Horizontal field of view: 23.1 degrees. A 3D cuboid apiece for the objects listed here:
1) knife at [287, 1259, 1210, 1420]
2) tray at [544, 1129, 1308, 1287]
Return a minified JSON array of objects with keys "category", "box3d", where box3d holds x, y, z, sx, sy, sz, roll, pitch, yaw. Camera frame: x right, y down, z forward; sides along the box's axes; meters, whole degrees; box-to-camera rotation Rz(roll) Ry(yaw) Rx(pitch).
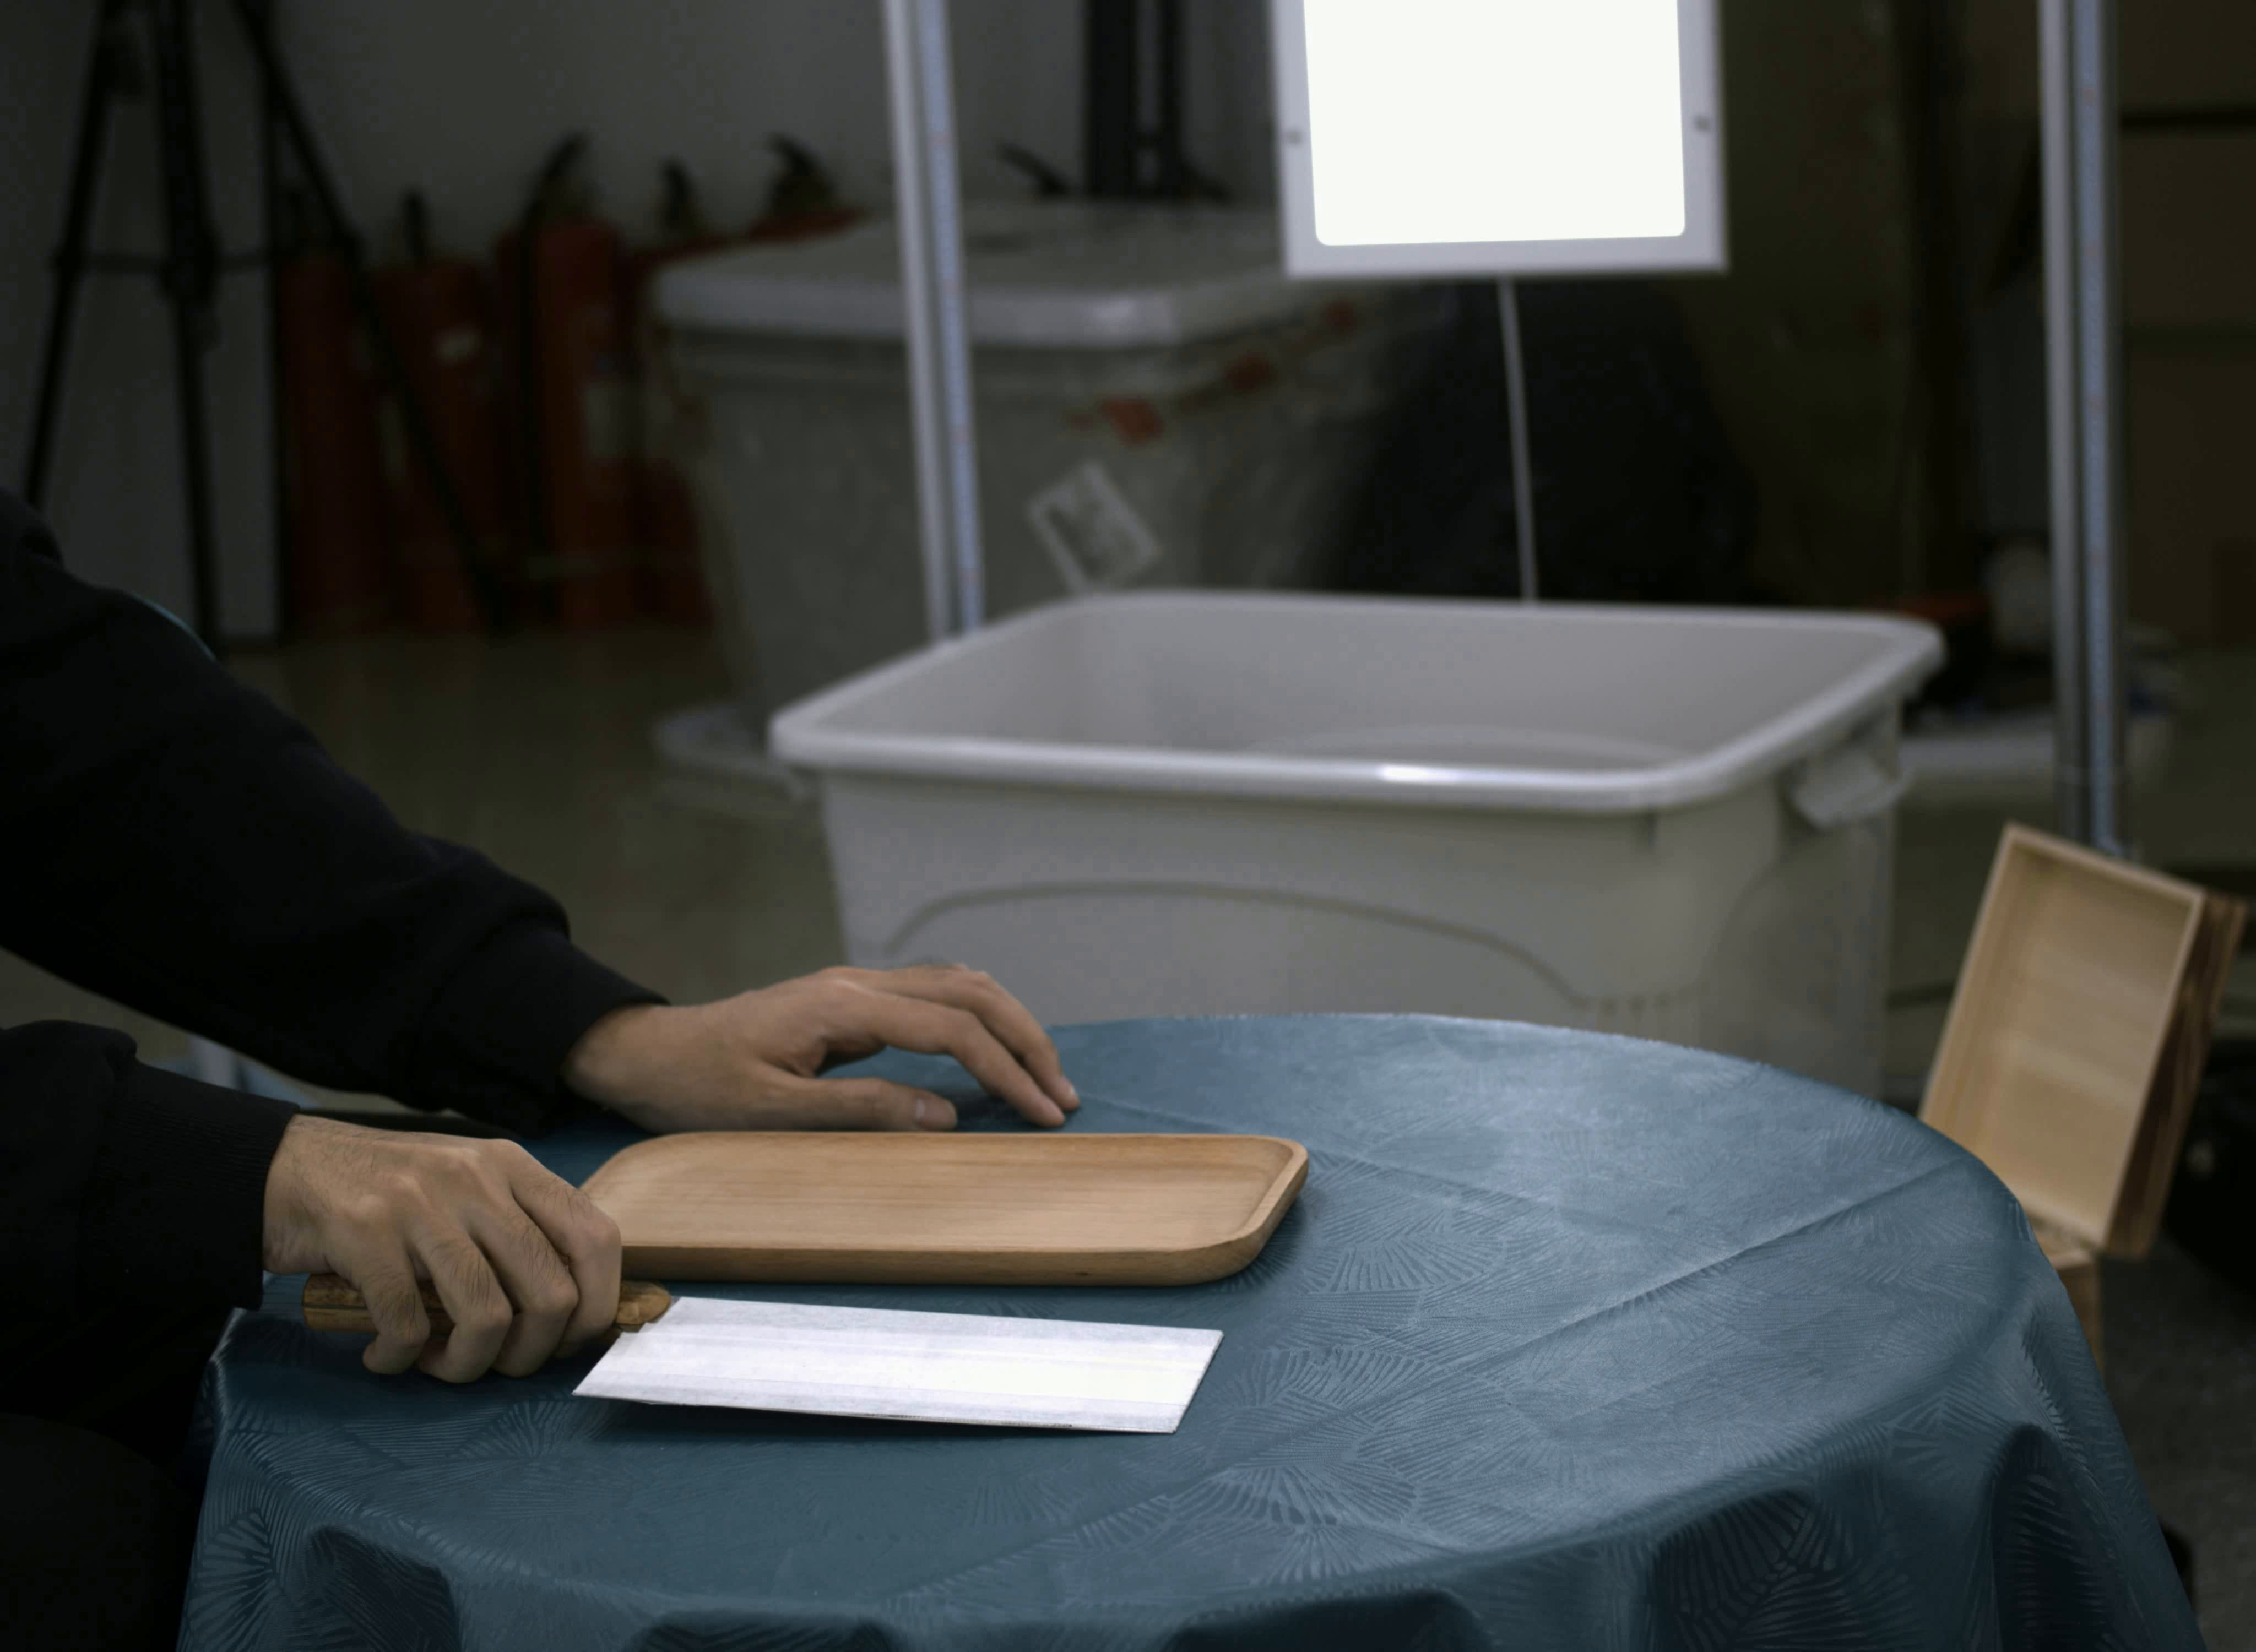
[{"category":"knife","box3d":[-0.126,0.165,1.737,0.308,0.021,0.092,2,15,13]},{"category":"tray","box3d":[-0.068,0.130,1.876,0.254,0.023,0.128,-2,12,19]}]
